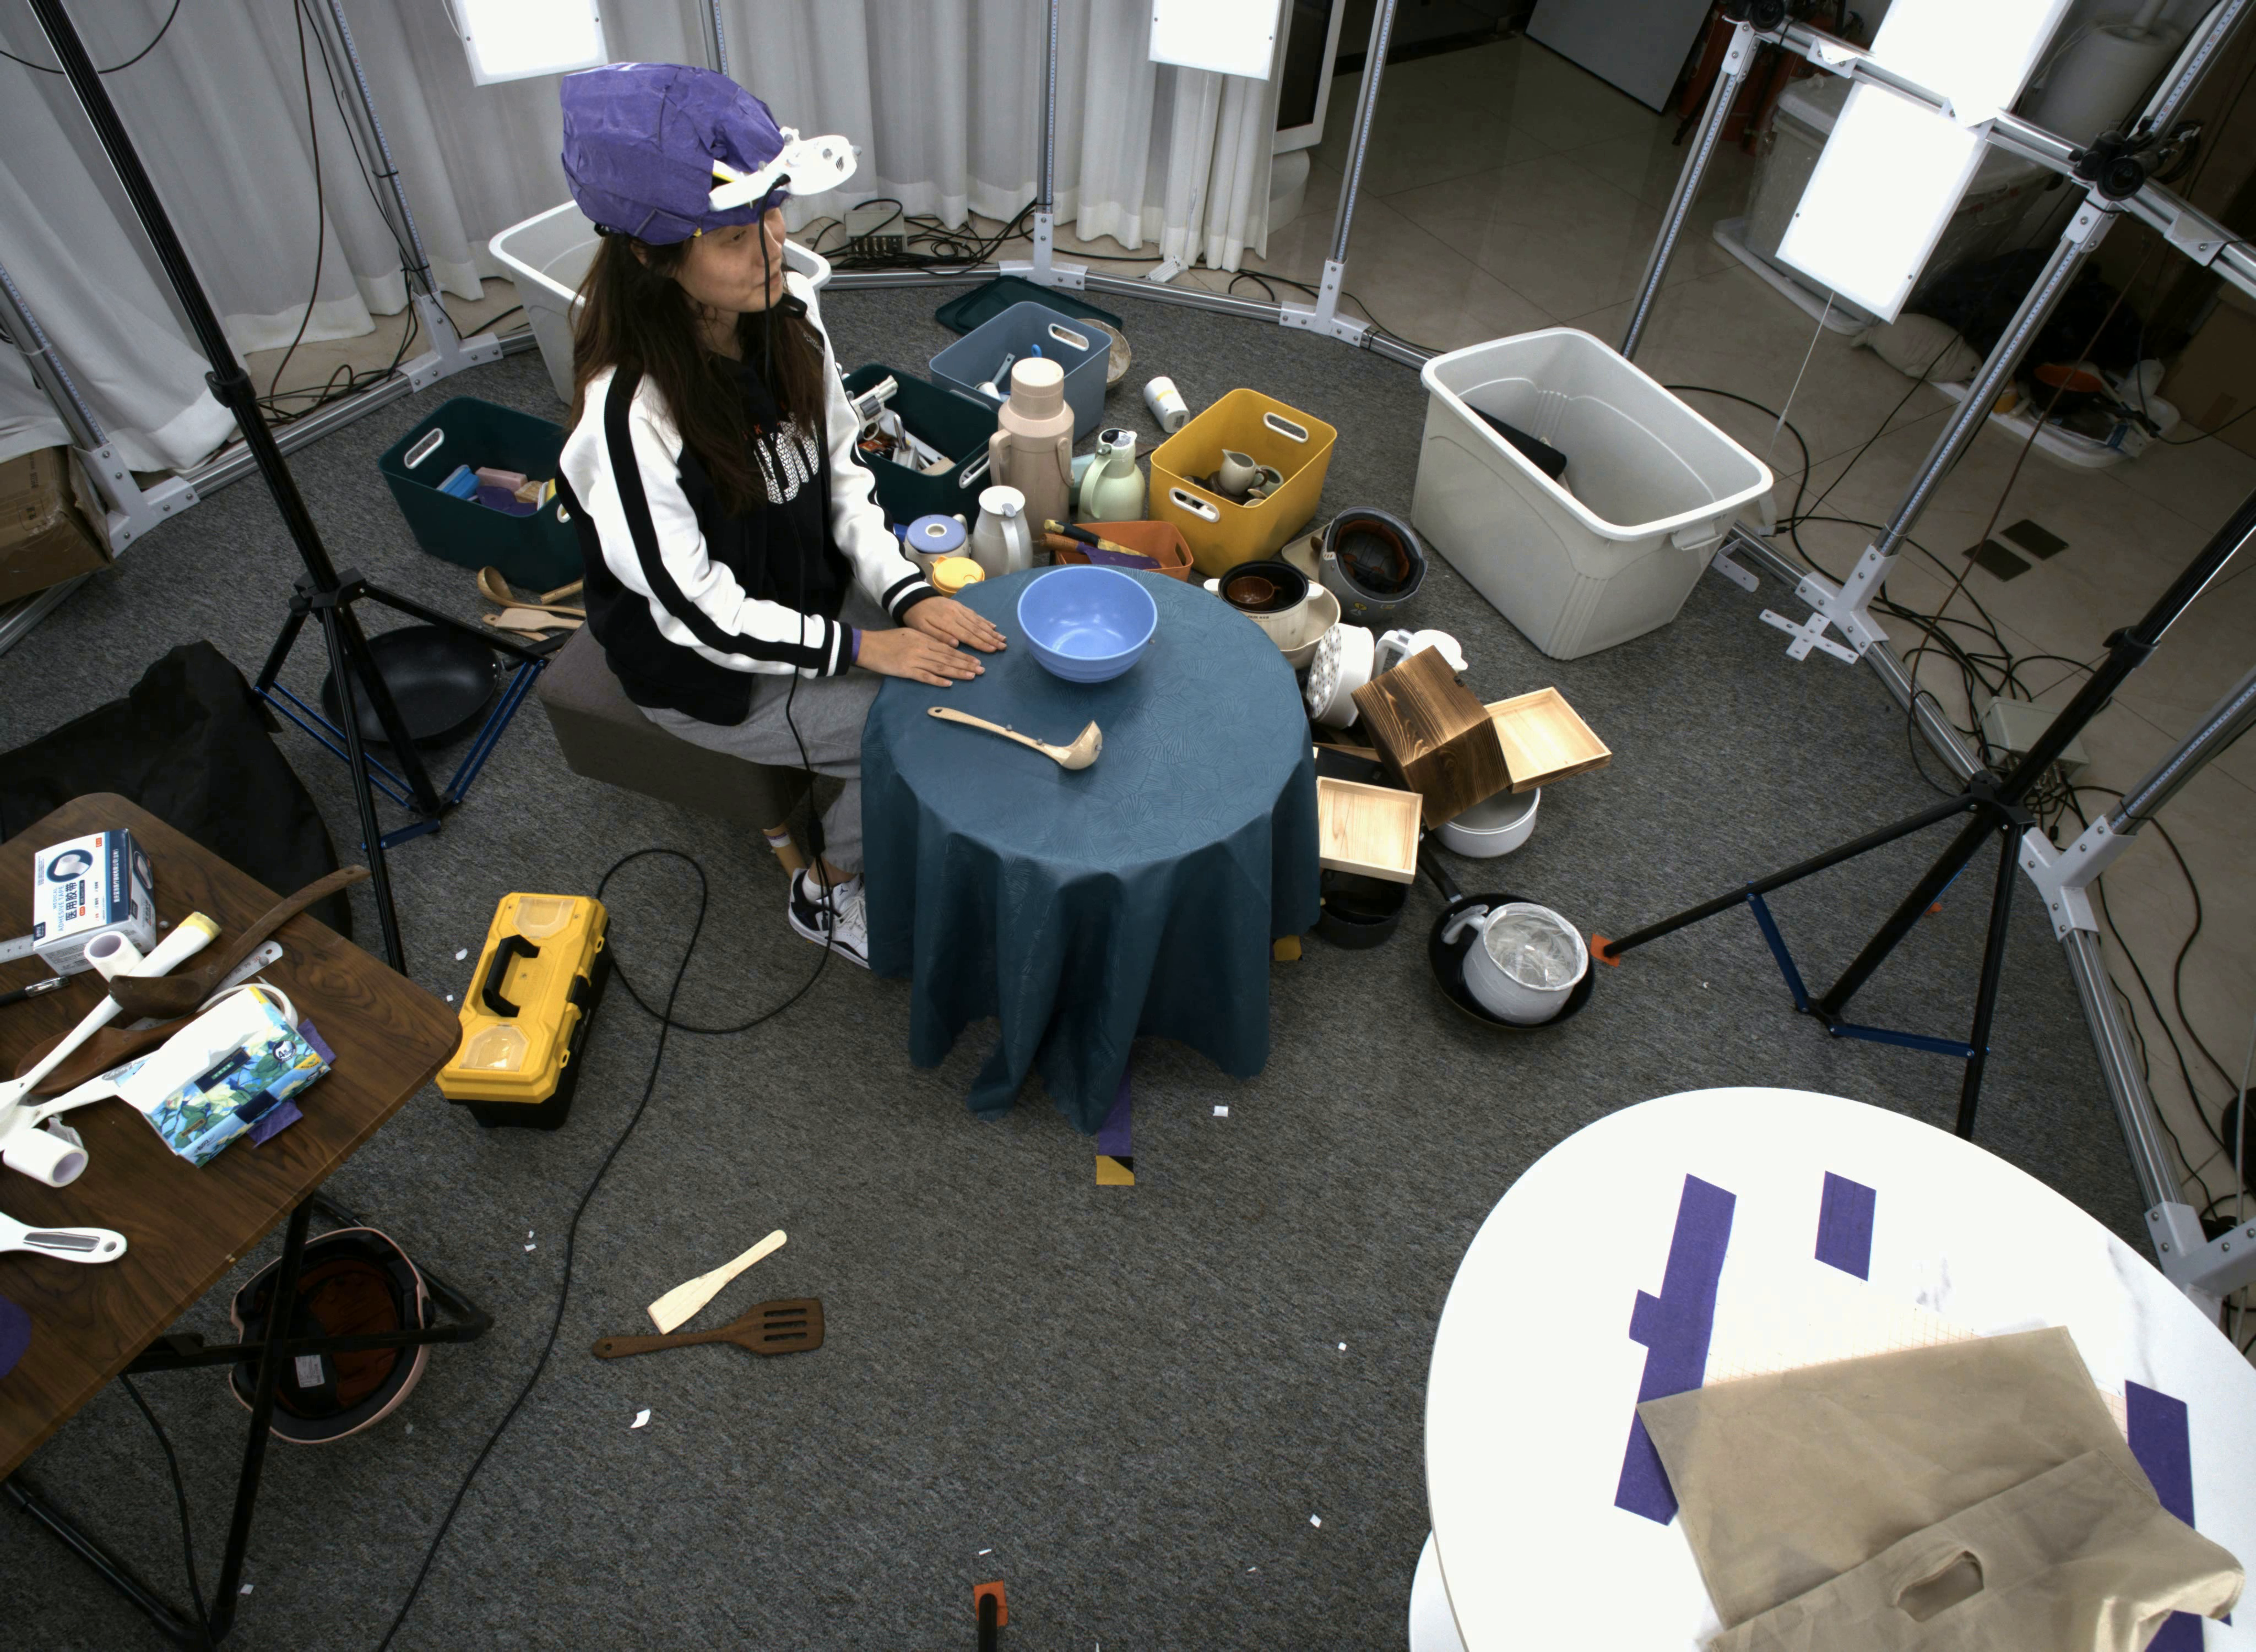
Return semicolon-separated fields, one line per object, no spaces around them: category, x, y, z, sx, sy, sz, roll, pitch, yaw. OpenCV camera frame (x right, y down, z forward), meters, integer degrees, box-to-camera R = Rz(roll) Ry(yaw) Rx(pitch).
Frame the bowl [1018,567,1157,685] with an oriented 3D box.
bowl;-0.059;-0.272;1.844;0.196;0.093;0.201;1;51;-2

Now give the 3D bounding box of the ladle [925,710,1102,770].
ladle;-0.159;-0.141;1.734;0.255;0.071;0.073;18;50;11
